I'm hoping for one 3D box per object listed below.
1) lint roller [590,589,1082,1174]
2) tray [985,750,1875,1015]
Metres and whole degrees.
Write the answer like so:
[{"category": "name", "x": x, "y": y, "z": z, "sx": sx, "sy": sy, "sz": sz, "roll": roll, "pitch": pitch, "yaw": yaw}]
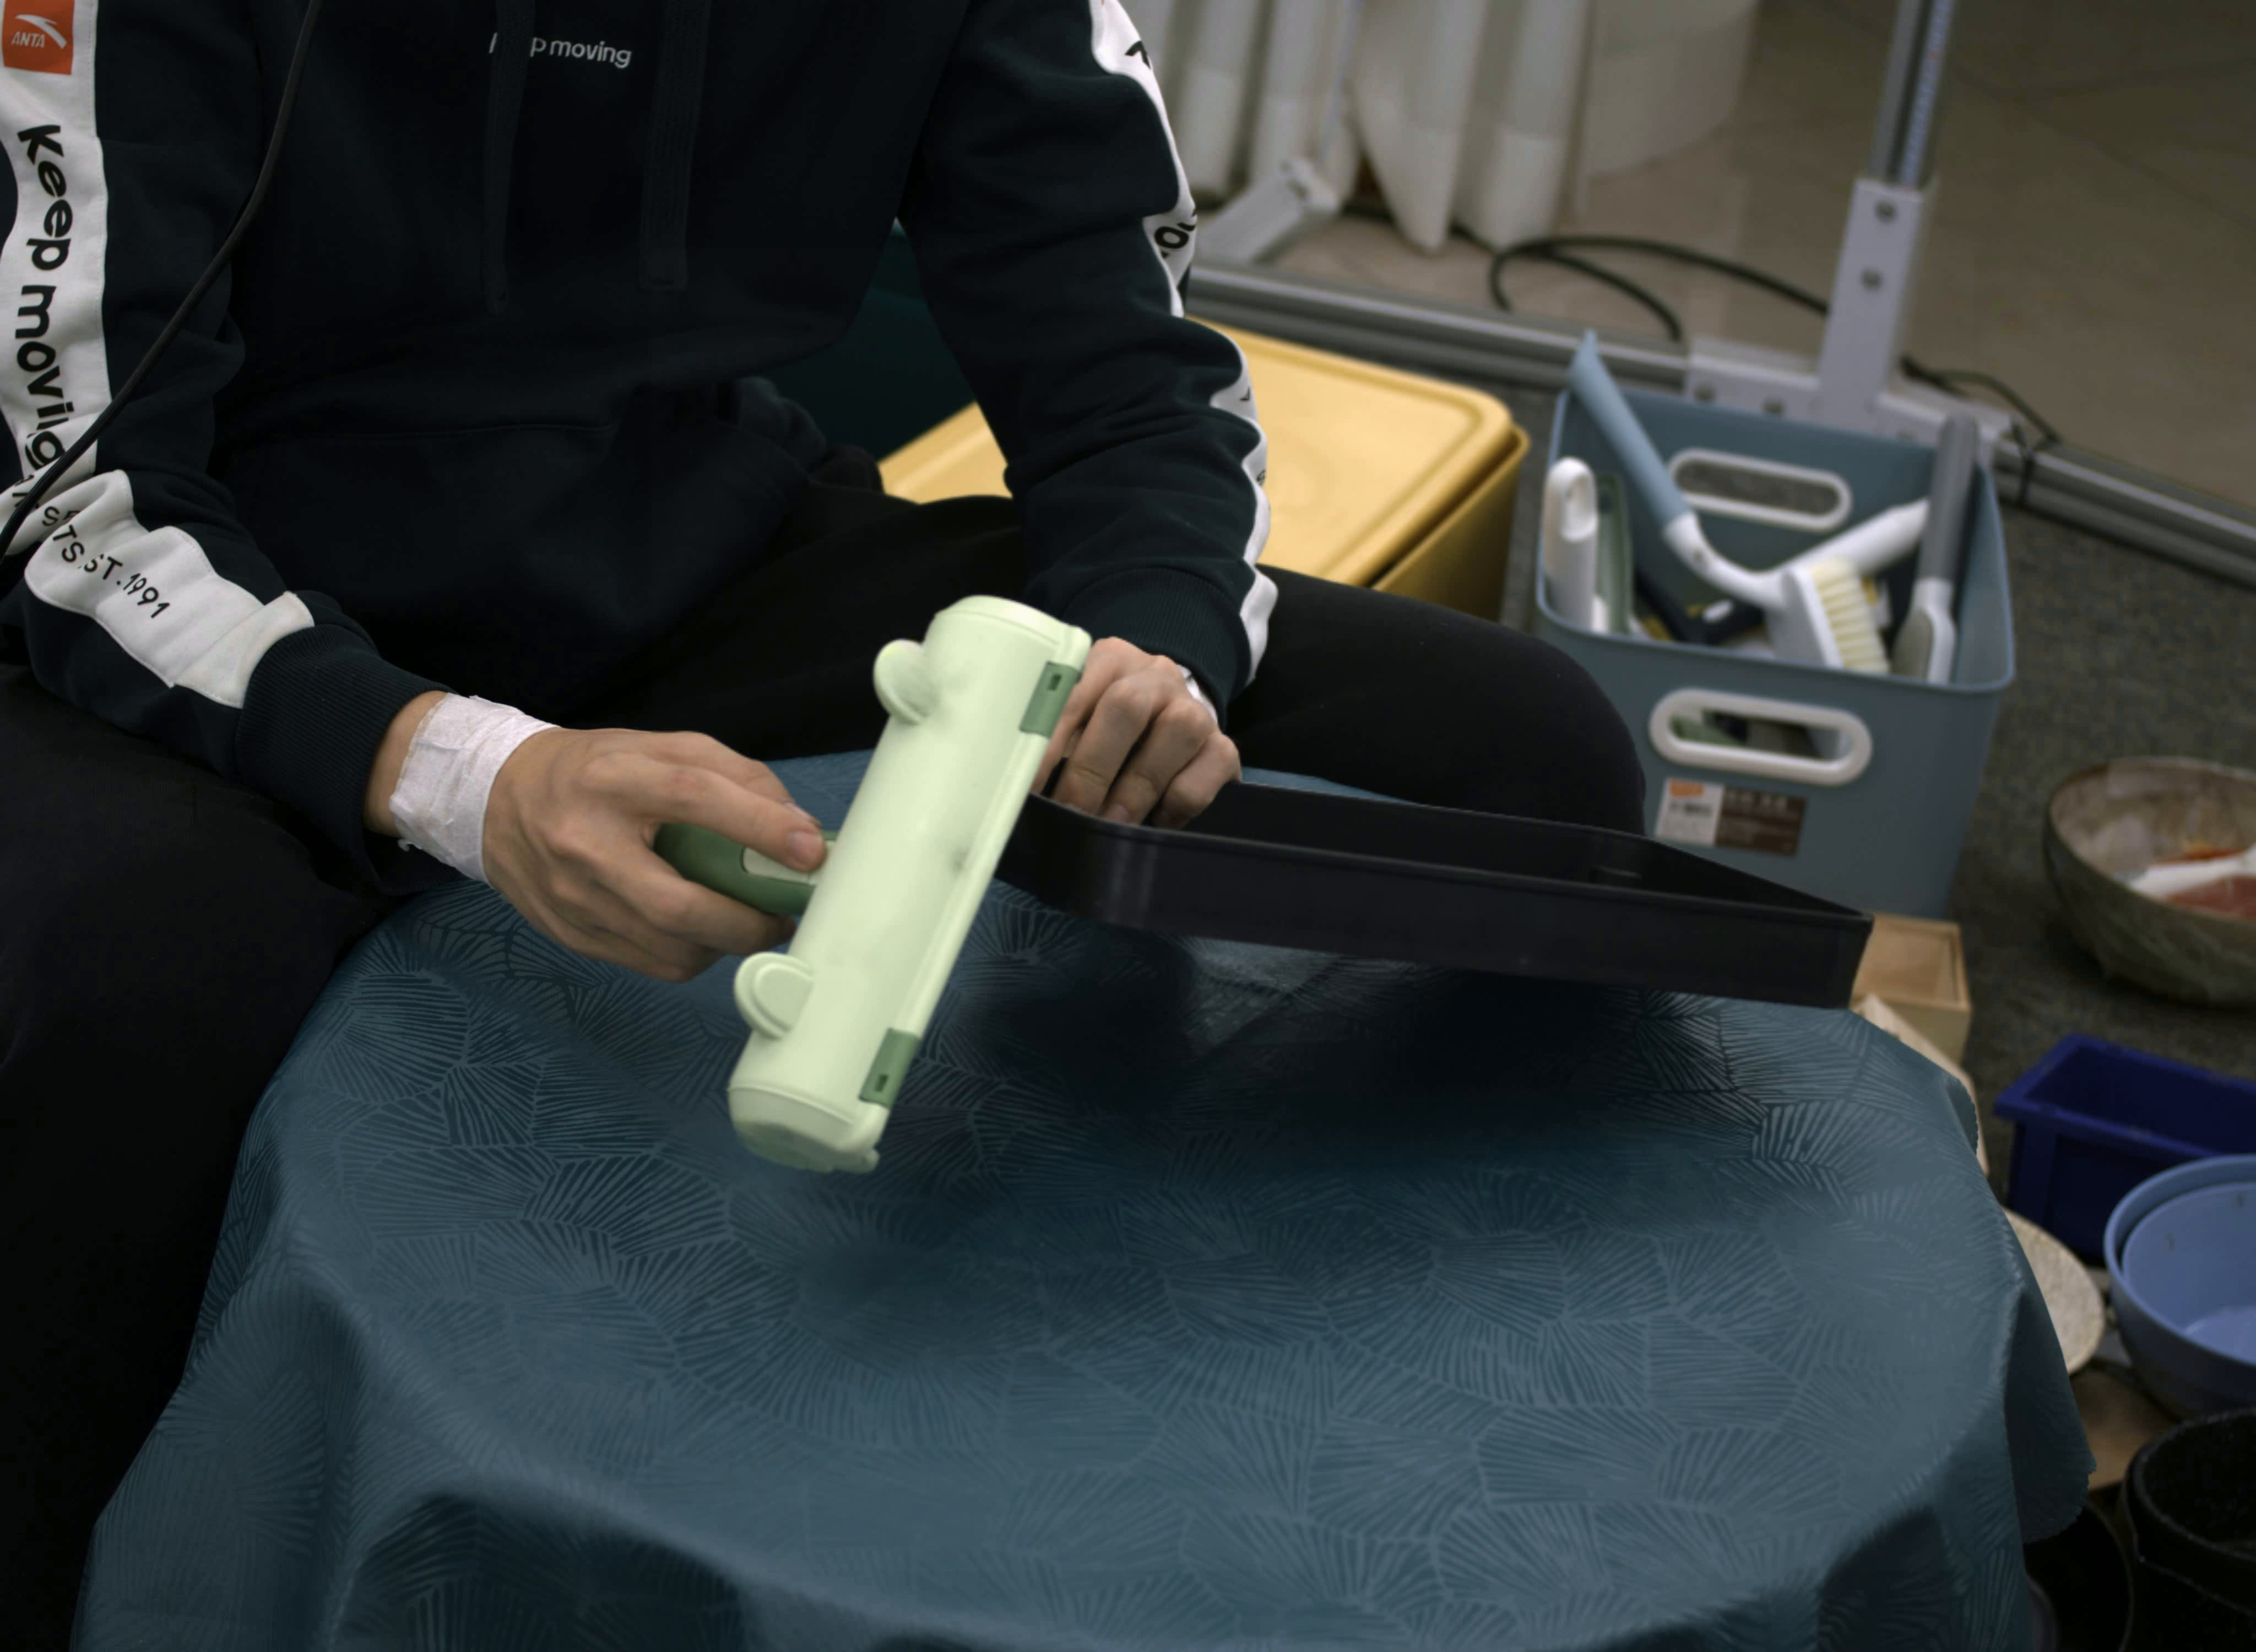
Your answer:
[{"category": "lint roller", "x": -0.122, "y": 0.006, "z": 1.758, "sx": 0.184, "sy": 0.081, "sz": 0.199, "roll": 10, "pitch": 68, "yaw": 34}, {"category": "tray", "x": 0.087, "y": 0.017, "z": 1.868, "sx": 0.315, "sy": 0.037, "sz": 0.185, "roll": 8, "pitch": 7, "yaw": -26}]
